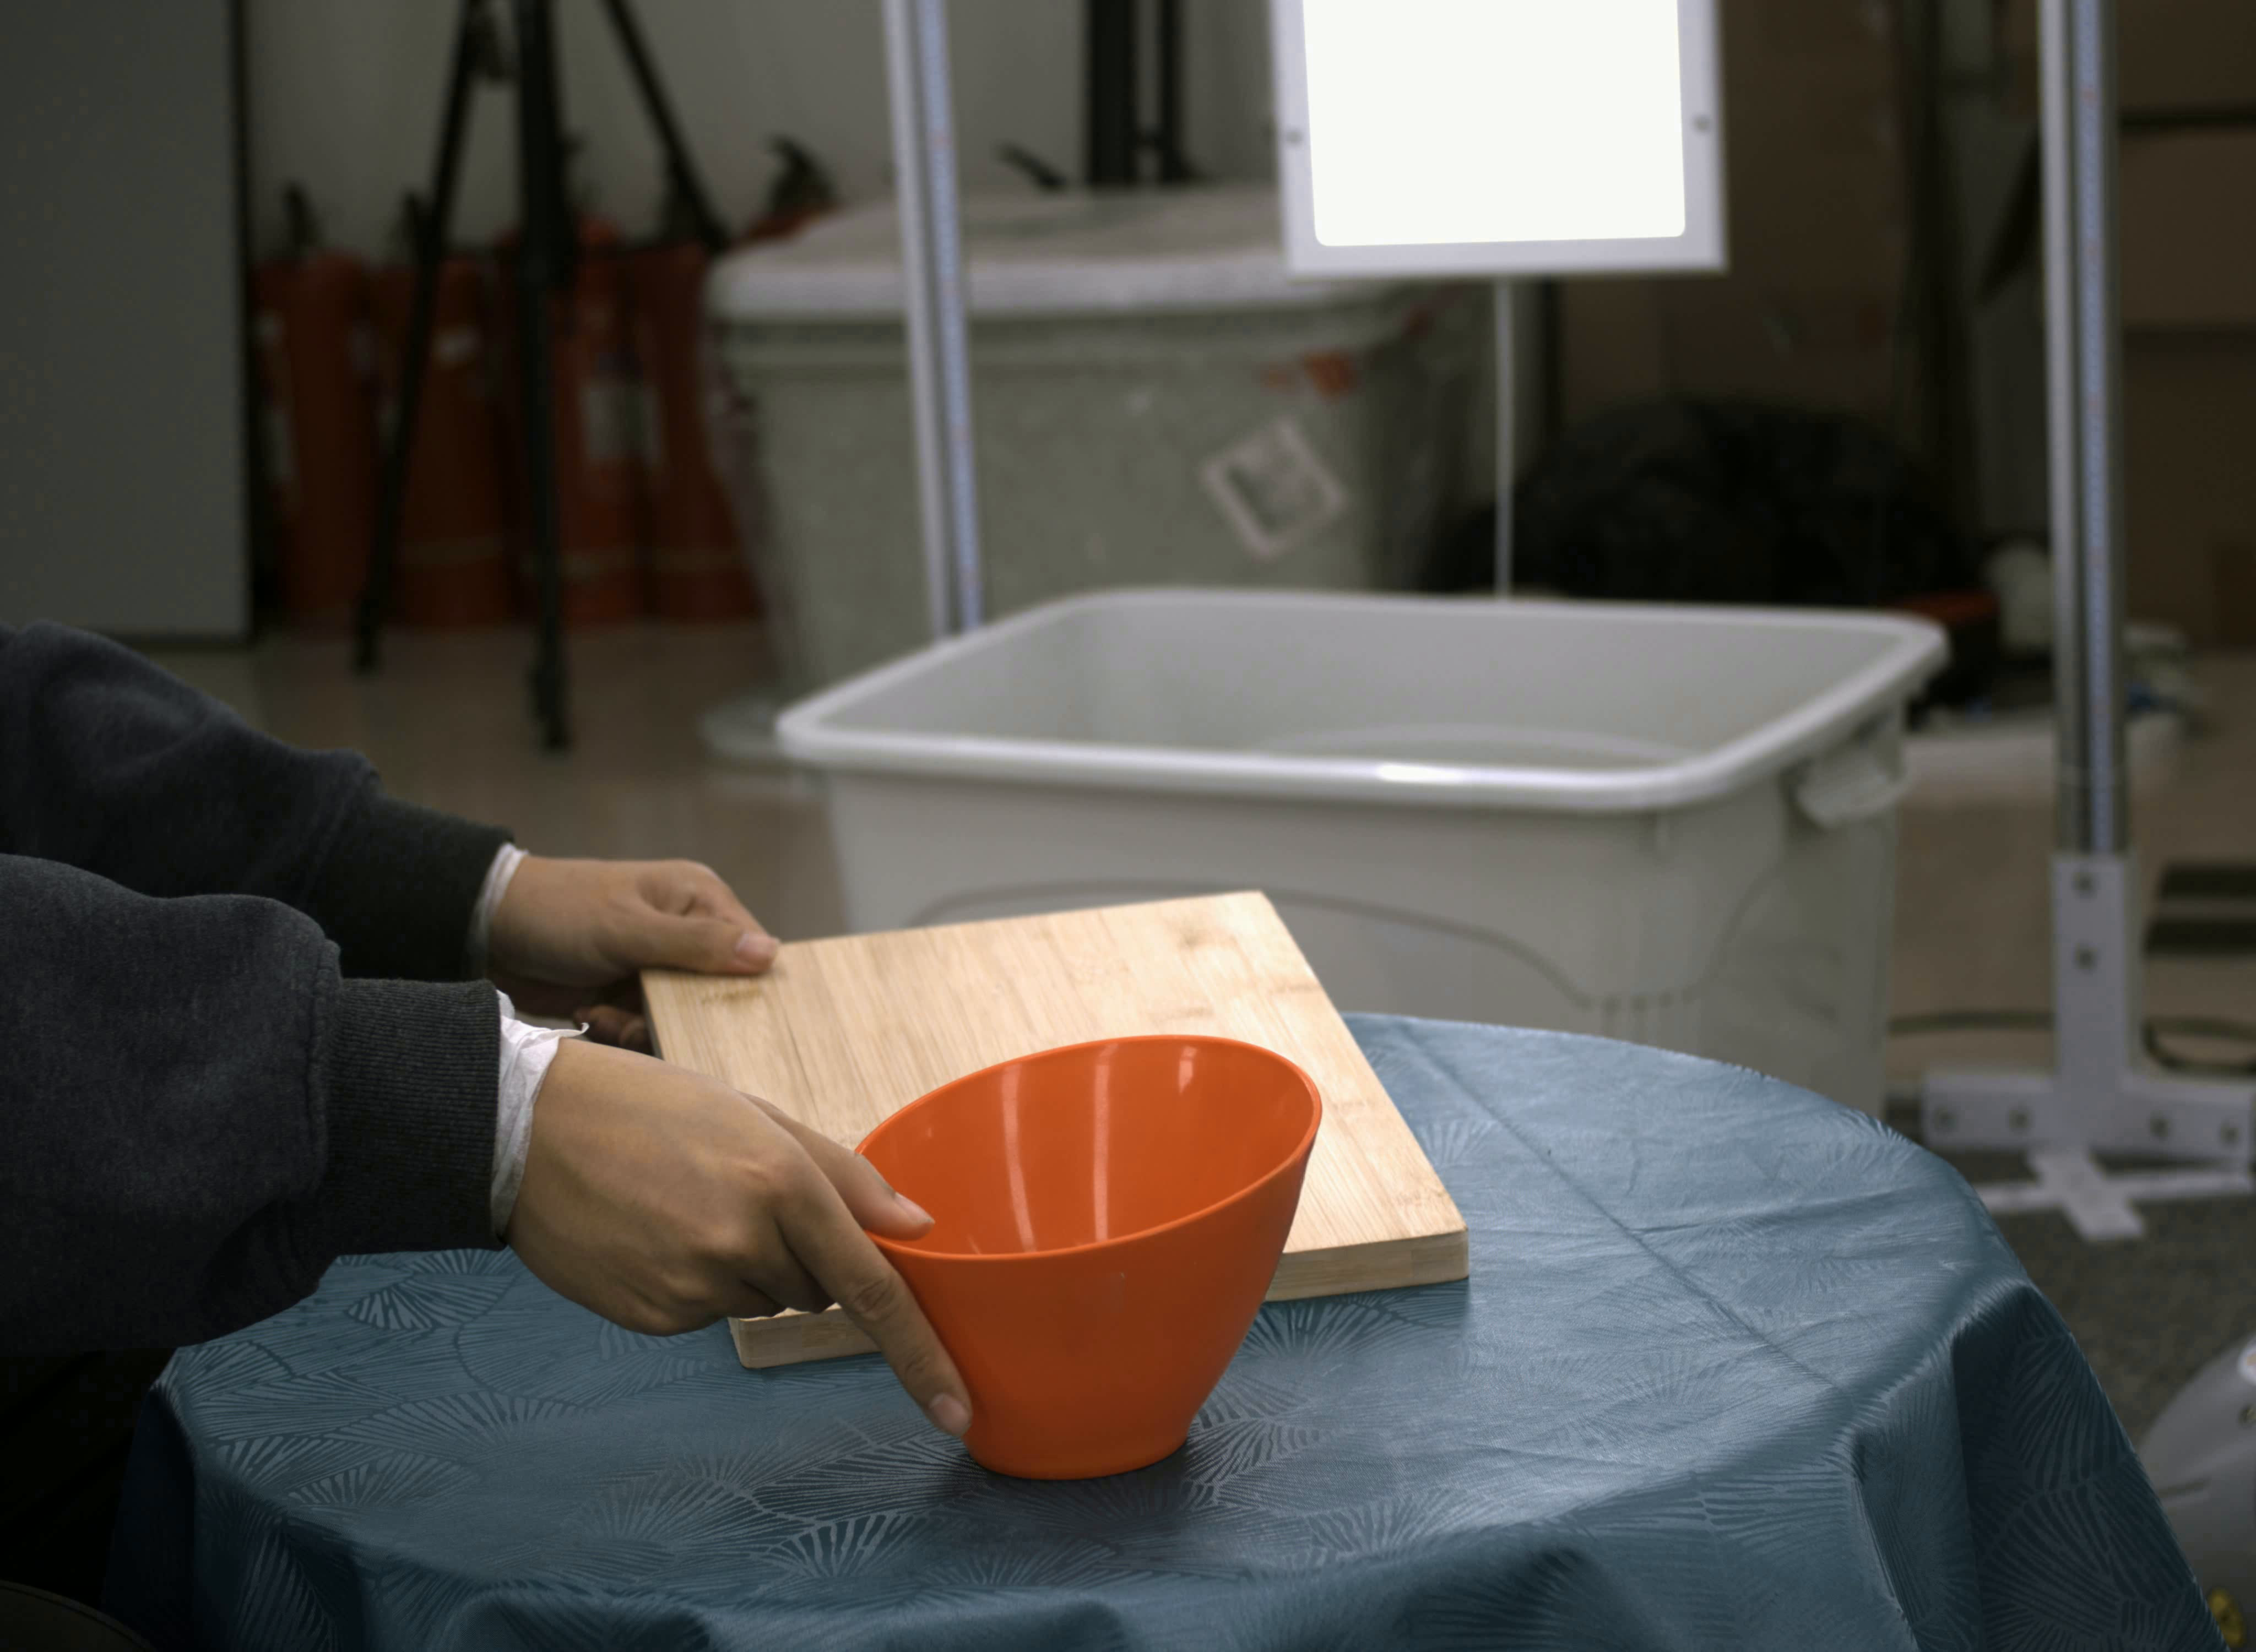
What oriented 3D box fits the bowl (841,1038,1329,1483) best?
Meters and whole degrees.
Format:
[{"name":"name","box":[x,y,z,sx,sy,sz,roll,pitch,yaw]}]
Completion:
[{"name":"bowl","box":[-0.010,0.134,1.655,0.147,0.105,0.148,-4,15,0]}]

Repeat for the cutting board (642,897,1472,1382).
[{"name":"cutting board","box":[-0.035,0.101,1.914,0.248,0.023,0.350,-8,19,-8]}]
